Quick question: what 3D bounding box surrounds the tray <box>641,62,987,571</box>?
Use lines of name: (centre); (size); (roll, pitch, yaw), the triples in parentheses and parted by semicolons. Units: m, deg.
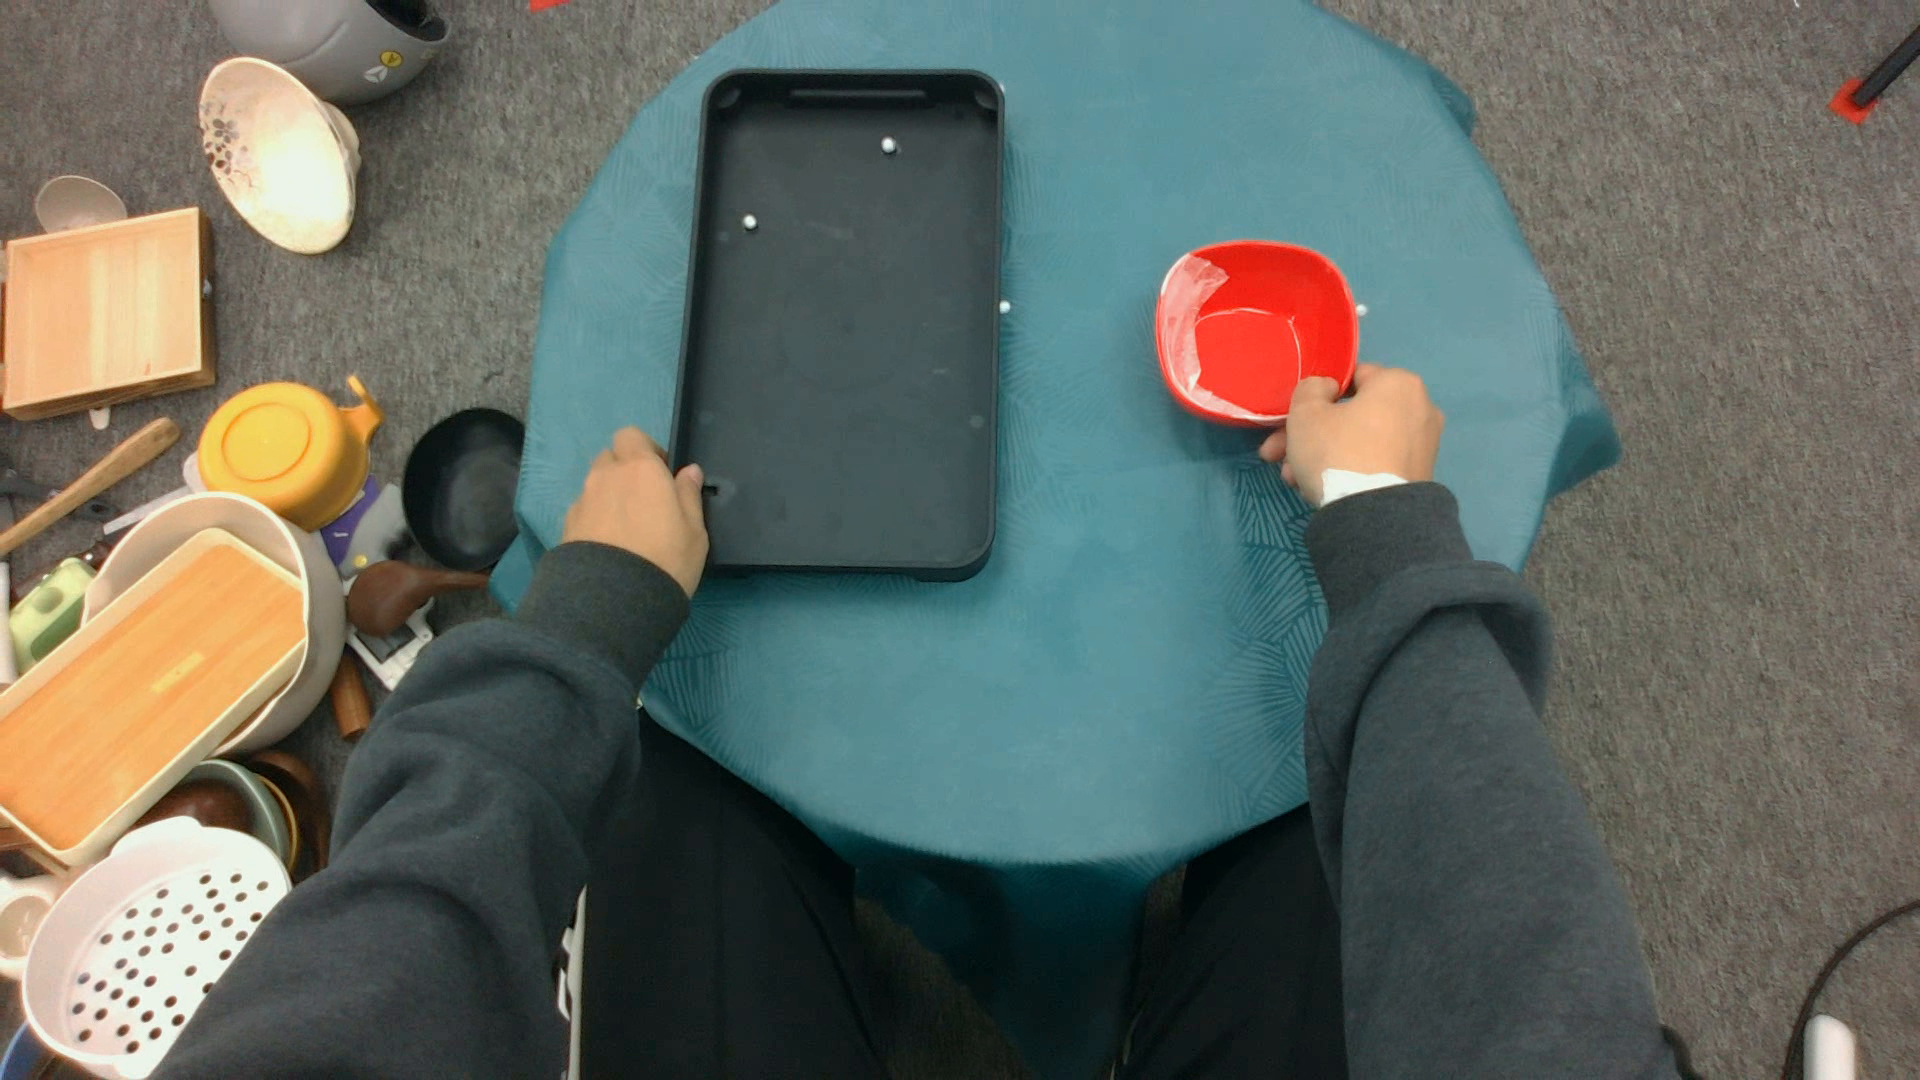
tray: (-0.077, -0.136, 0.799); (0.184, 0.037, 0.319); (0, 70, 2)

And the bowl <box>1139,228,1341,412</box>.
bowl: (0.154, -0.116, 0.778); (0.119, 0.051, 0.119); (0, 69, 1)
